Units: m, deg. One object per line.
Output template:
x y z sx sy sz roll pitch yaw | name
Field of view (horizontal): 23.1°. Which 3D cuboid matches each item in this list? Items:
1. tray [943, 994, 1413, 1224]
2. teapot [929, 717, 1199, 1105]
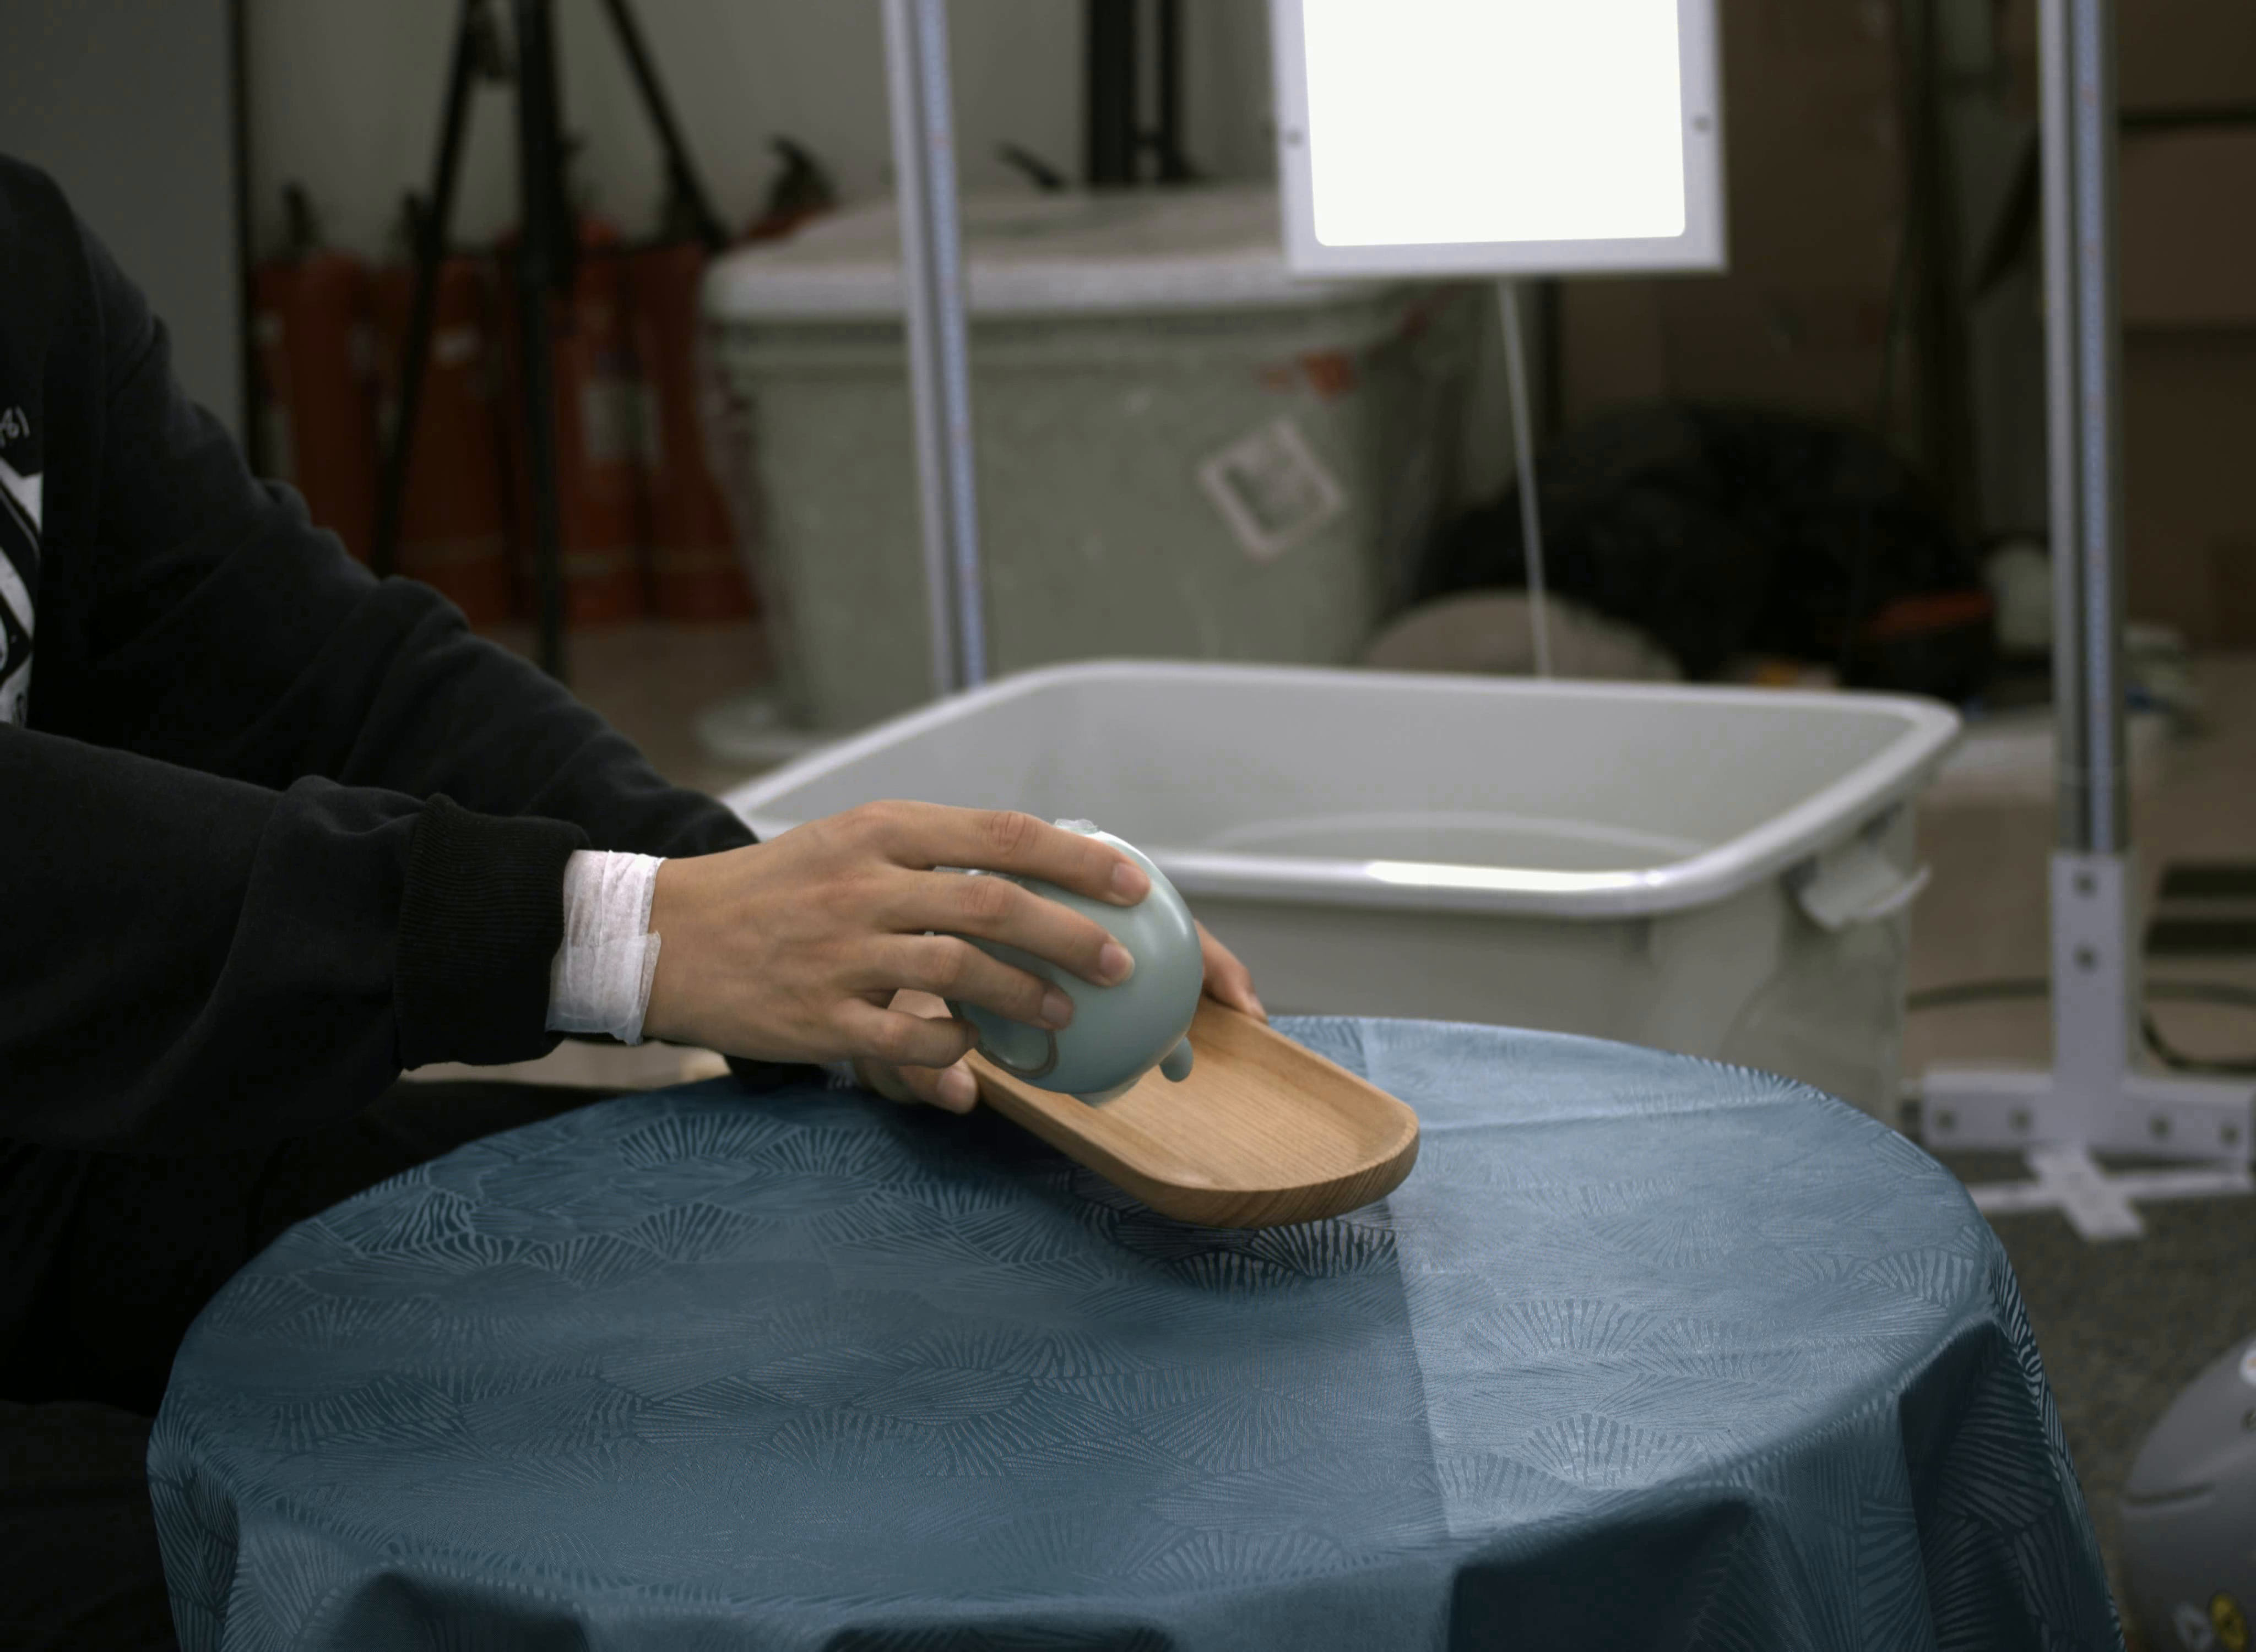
0.016 0.094 1.894 0.099 0.020 0.235 -13 17 -24 | tray
-0.020 0.041 1.751 0.090 0.144 0.073 12 41 41 | teapot
